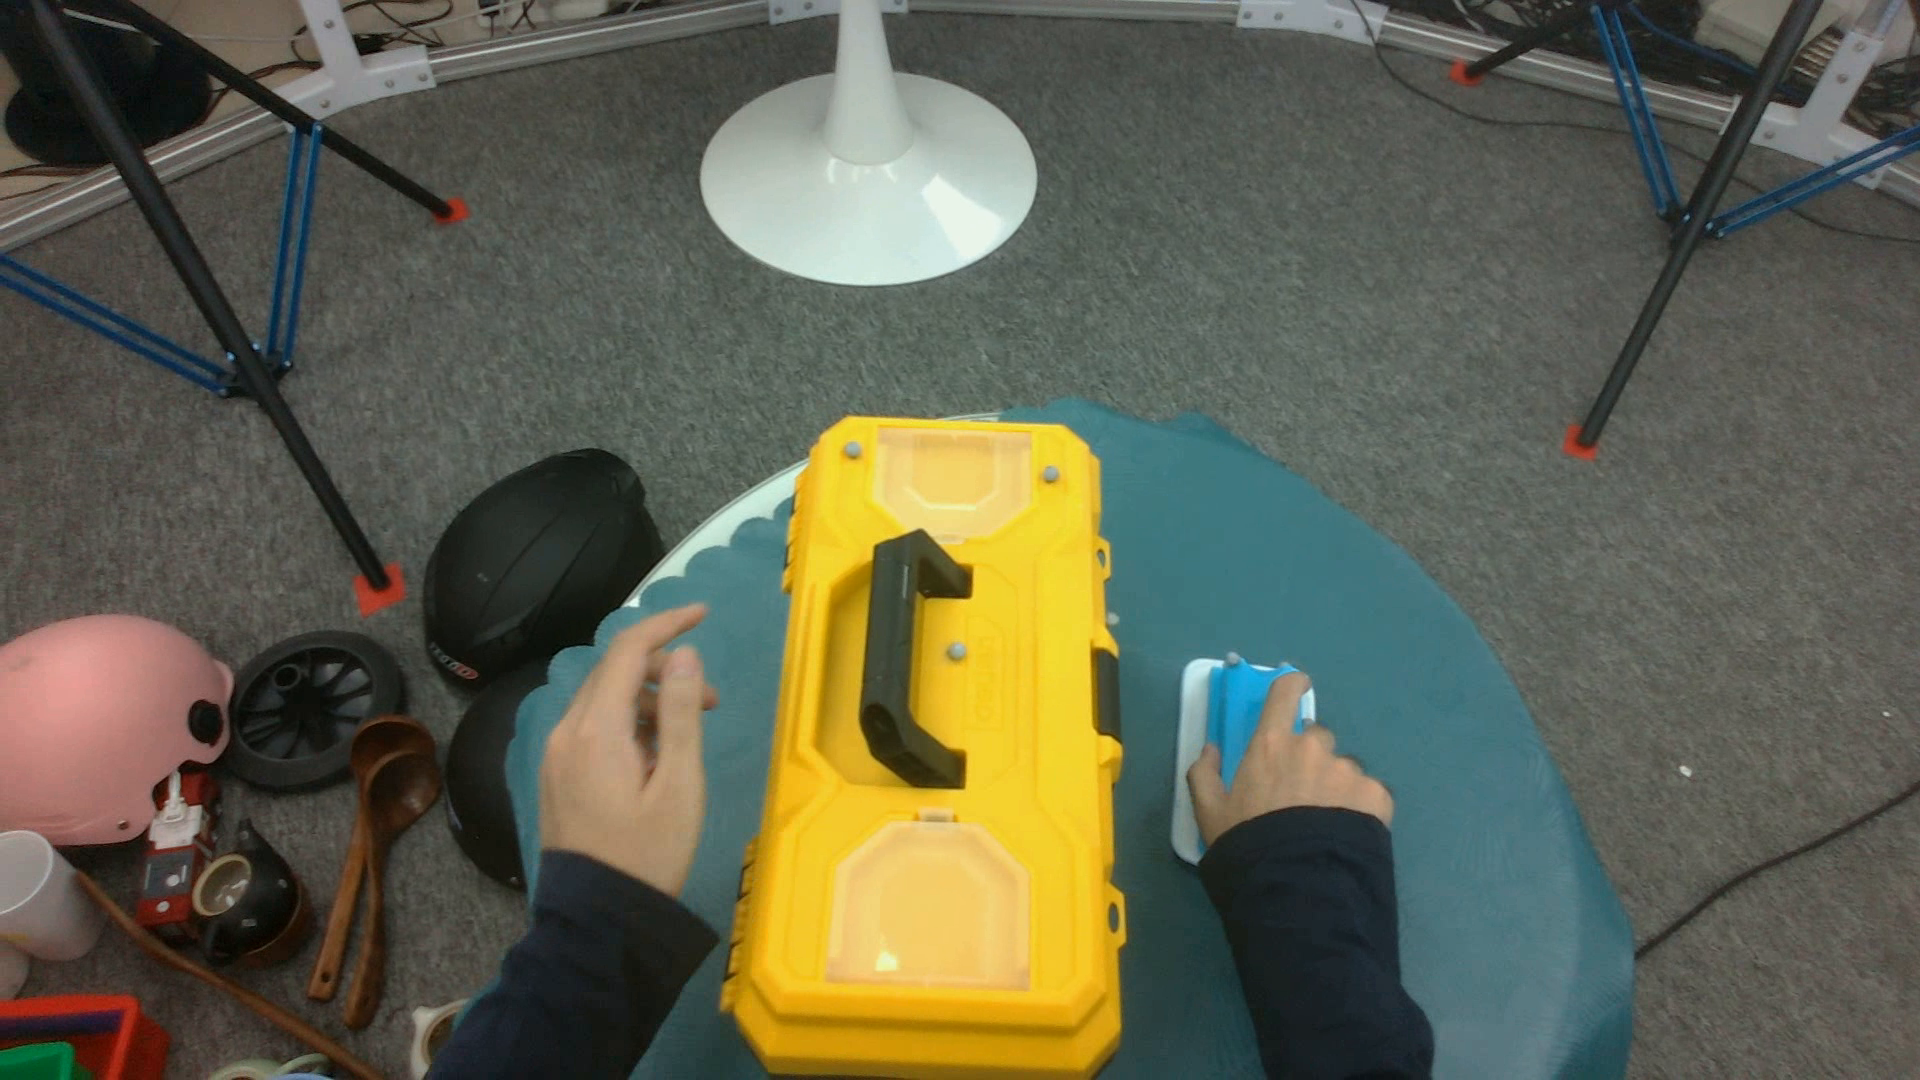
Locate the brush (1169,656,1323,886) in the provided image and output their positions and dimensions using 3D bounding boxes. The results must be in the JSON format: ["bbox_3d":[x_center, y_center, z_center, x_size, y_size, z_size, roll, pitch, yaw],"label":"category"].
[{"bbox_3d":[0.169,0.126,0.799,0.084,0.055,0.144,8,50,9],"label":"brush"}]

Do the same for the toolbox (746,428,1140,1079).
[{"bbox_3d":[-0.006,0.116,0.733,0.181,0.172,0.353,1,52,1],"label":"toolbox"}]
